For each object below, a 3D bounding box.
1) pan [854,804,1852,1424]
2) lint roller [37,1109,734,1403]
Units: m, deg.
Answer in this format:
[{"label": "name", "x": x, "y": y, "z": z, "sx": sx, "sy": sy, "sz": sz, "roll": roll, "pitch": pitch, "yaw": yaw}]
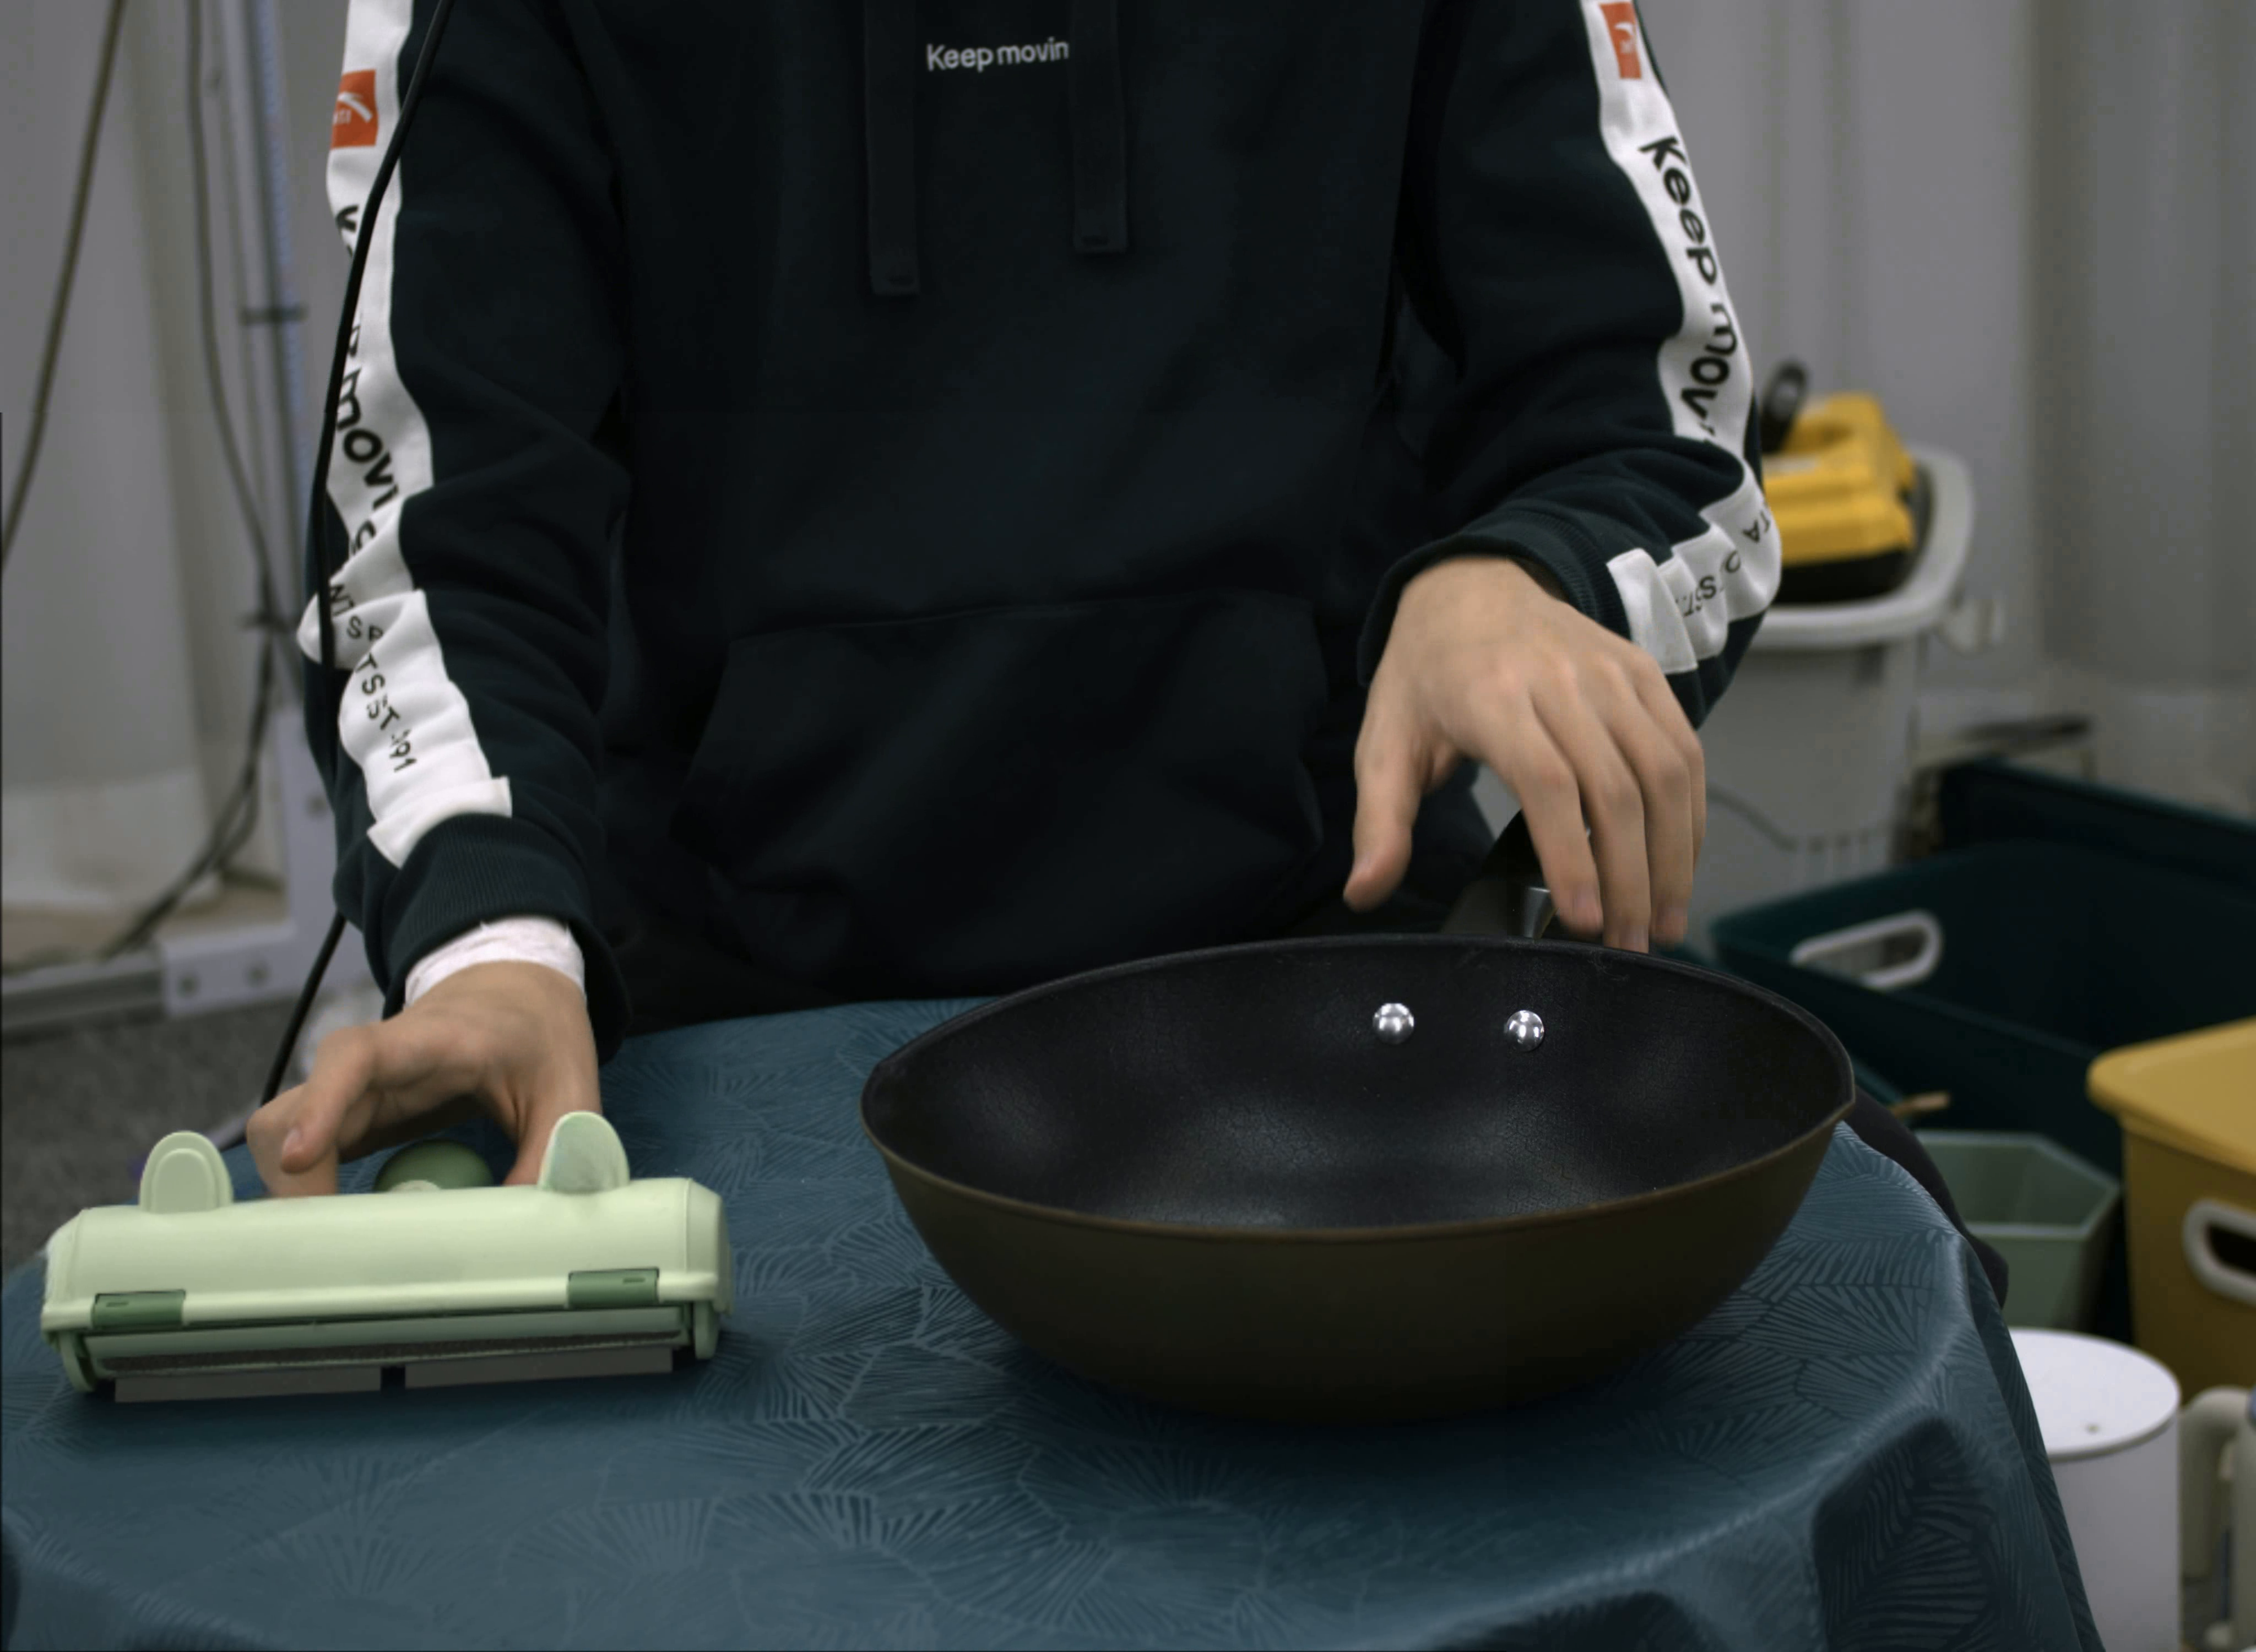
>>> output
[{"label": "pan", "x": 0.090, "y": 0.084, "z": 1.651, "sx": 0.288, "sy": 0.086, "sz": 0.465, "roll": 1, "pitch": 14, "yaw": 17}, {"label": "lint roller", "x": -0.215, "y": 0.108, "z": 1.637, "sx": 0.198, "sy": 0.081, "sz": 0.185, "roll": -3, "pitch": 20, "yaw": 0}]
